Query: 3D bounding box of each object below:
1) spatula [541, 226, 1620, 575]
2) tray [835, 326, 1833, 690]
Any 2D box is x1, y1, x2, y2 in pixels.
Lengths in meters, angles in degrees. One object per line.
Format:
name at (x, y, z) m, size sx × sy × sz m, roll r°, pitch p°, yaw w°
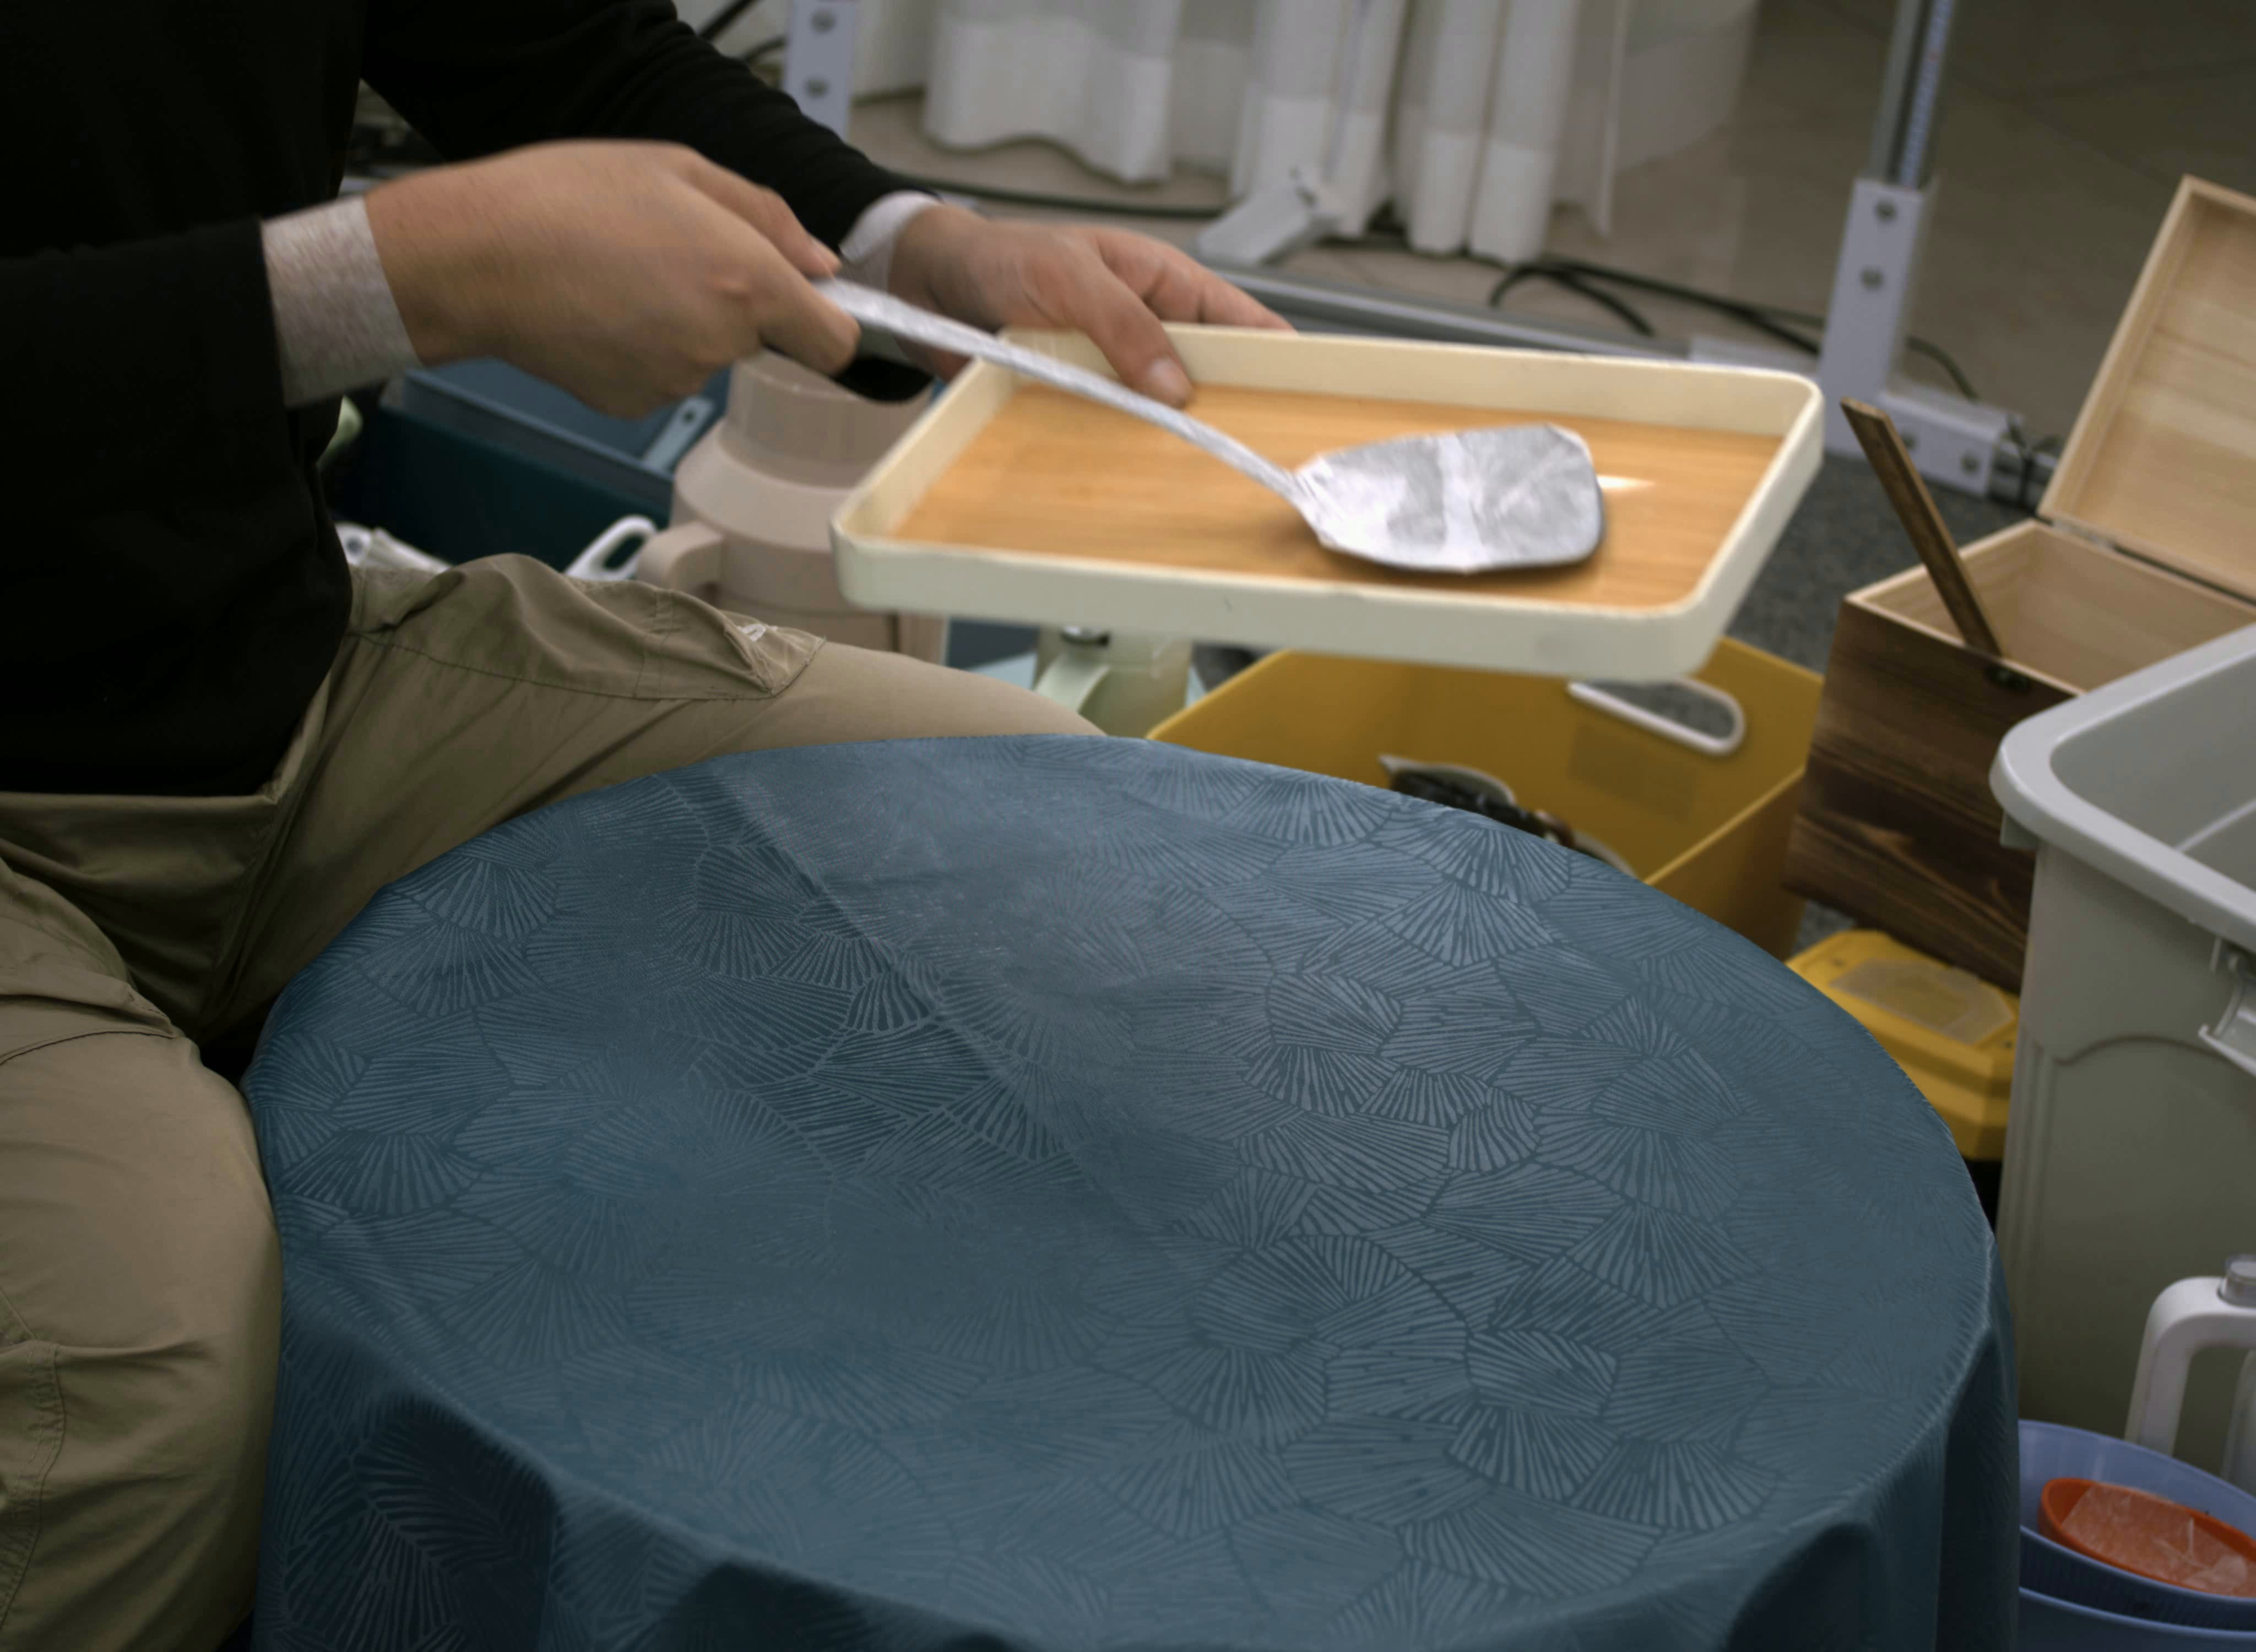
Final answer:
spatula at (-0.015, -0.147, 1.745) m, size 0.363 × 0.044 × 0.099 m, roll 19°, pitch 30°, yaw -8°
tray at (0.071, -0.109, 1.782) m, size 0.301 × 0.027 × 0.192 m, roll 6°, pitch 31°, yaw 21°
